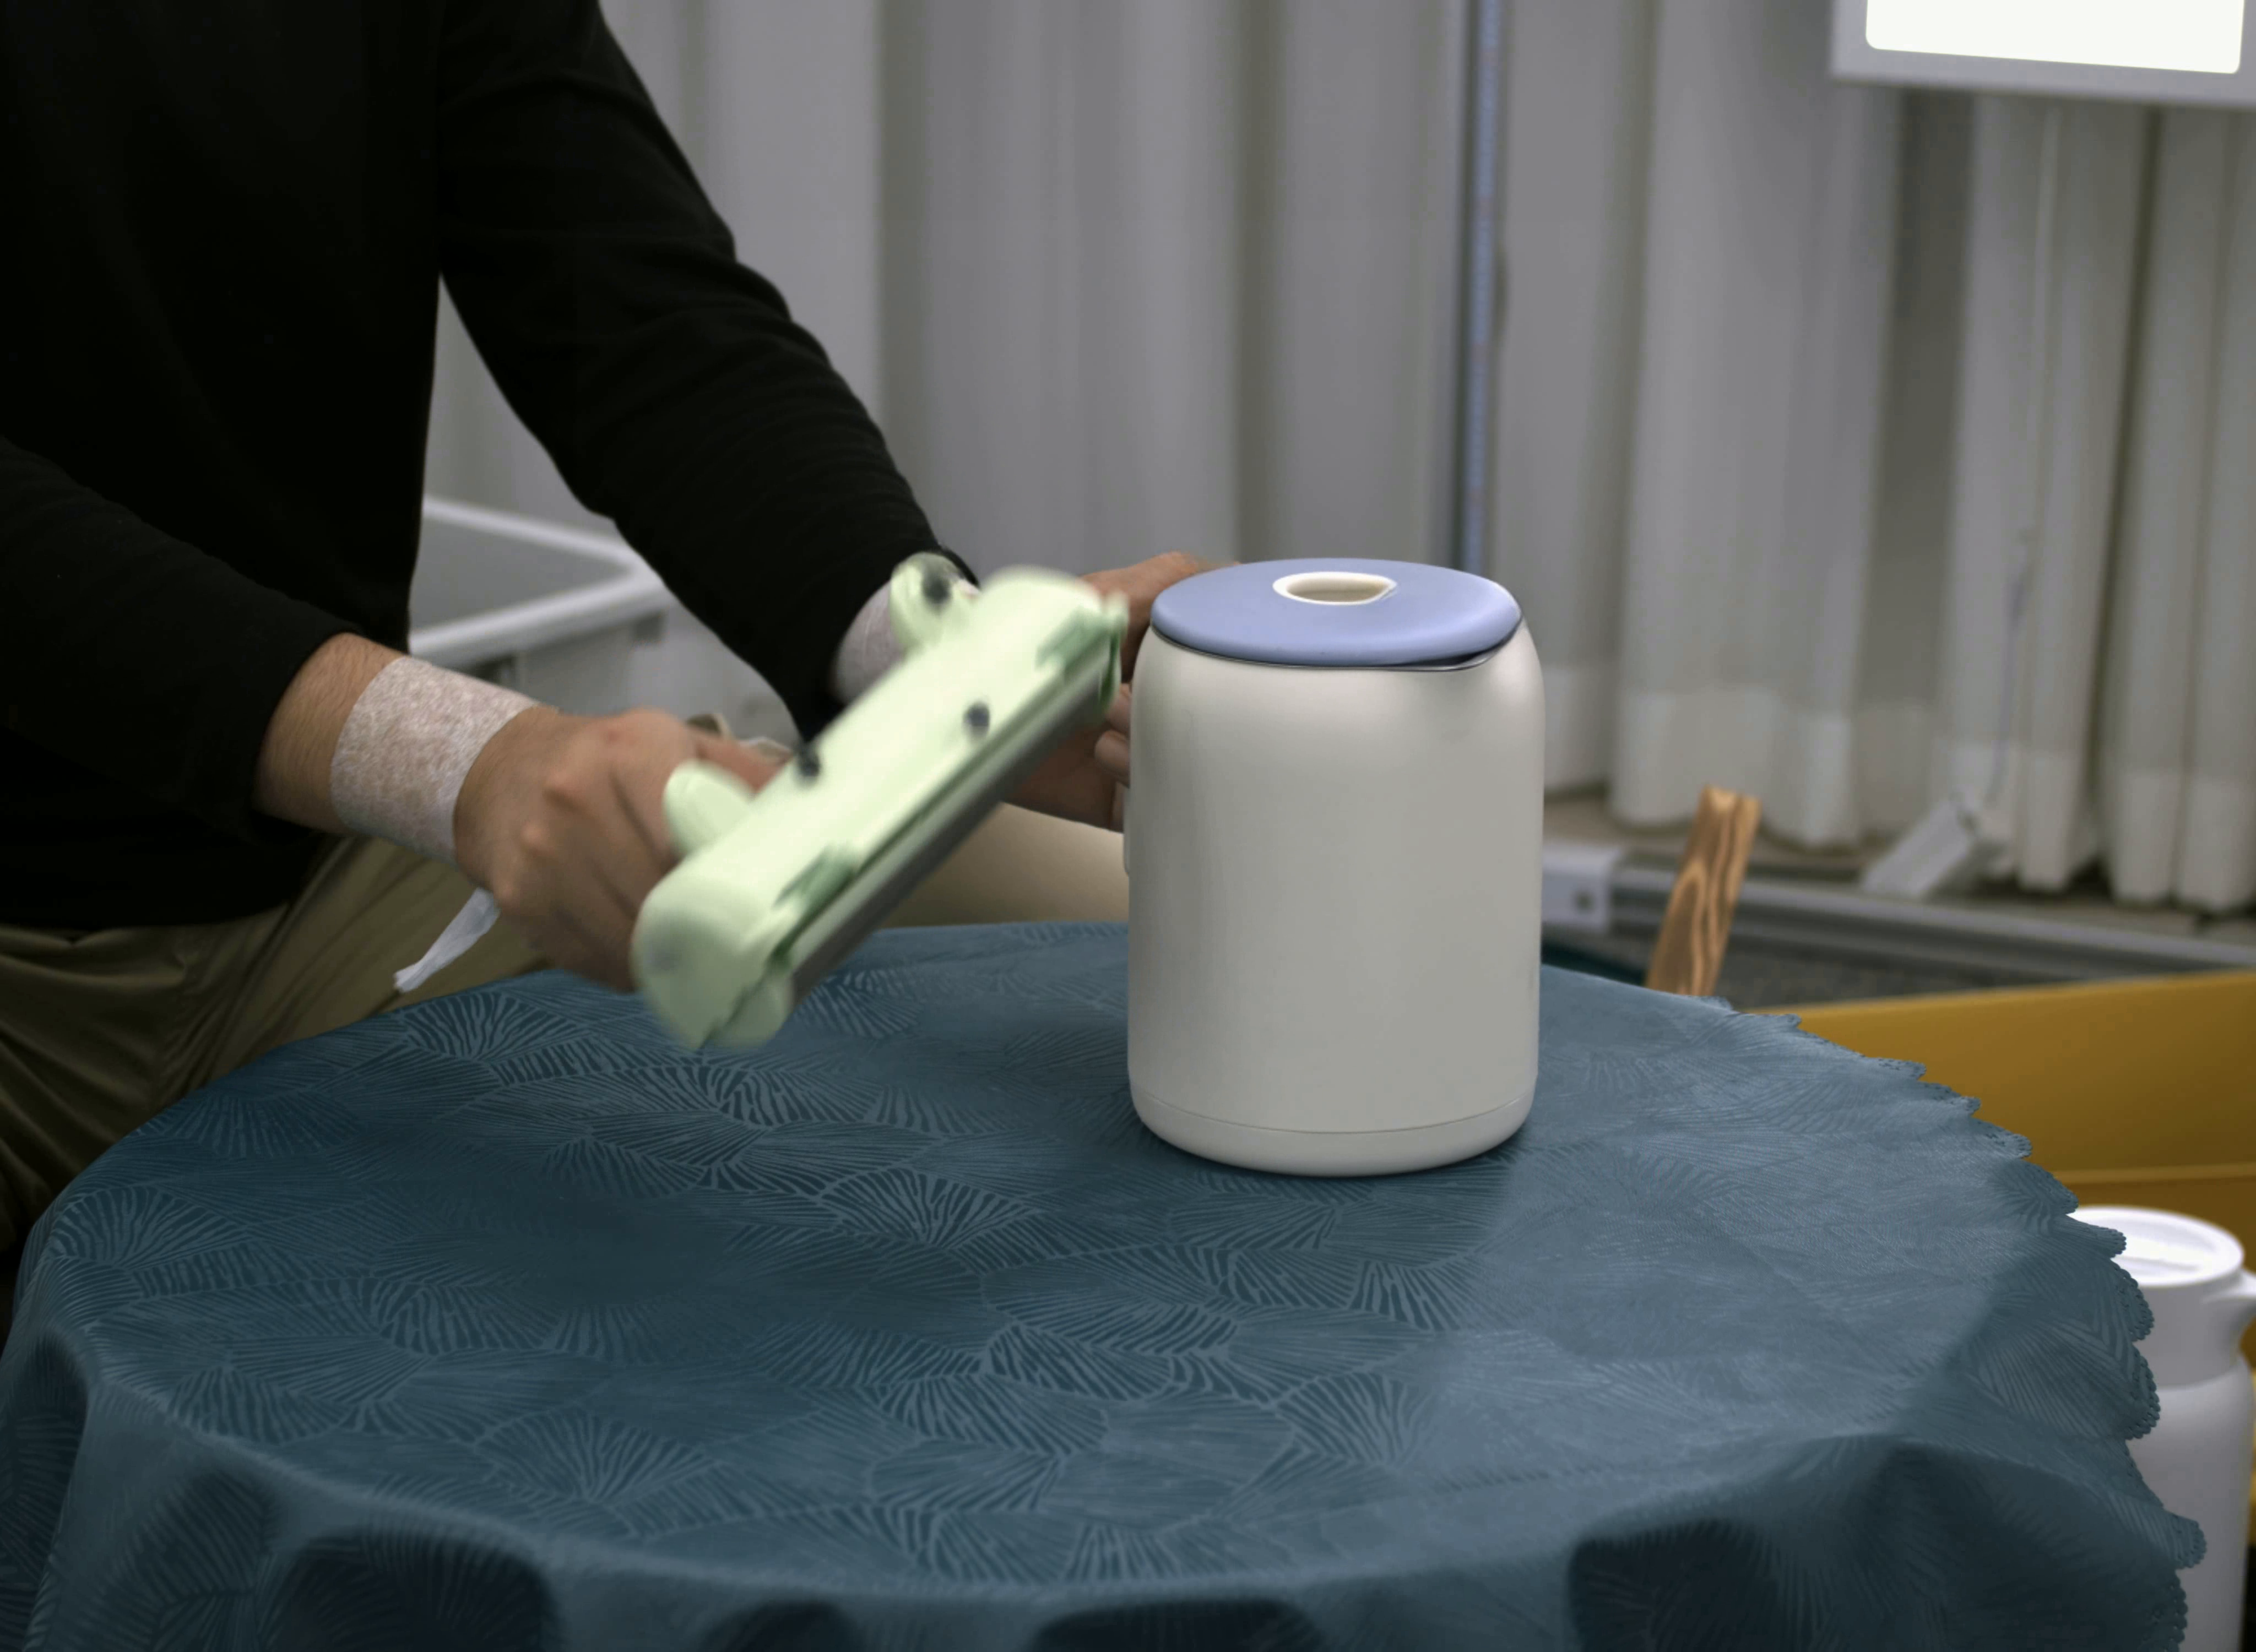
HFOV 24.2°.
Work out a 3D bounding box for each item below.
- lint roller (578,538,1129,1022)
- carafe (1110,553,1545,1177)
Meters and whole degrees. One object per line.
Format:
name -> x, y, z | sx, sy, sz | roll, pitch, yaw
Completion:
lint roller -> -0.113, -0.014, 1.570 | 0.181, 0.083, 0.198 | -10, 25, 40
carafe -> 0.052, 0.006, 1.684 | 0.133, 0.184, 0.188 | -9, 16, -32
